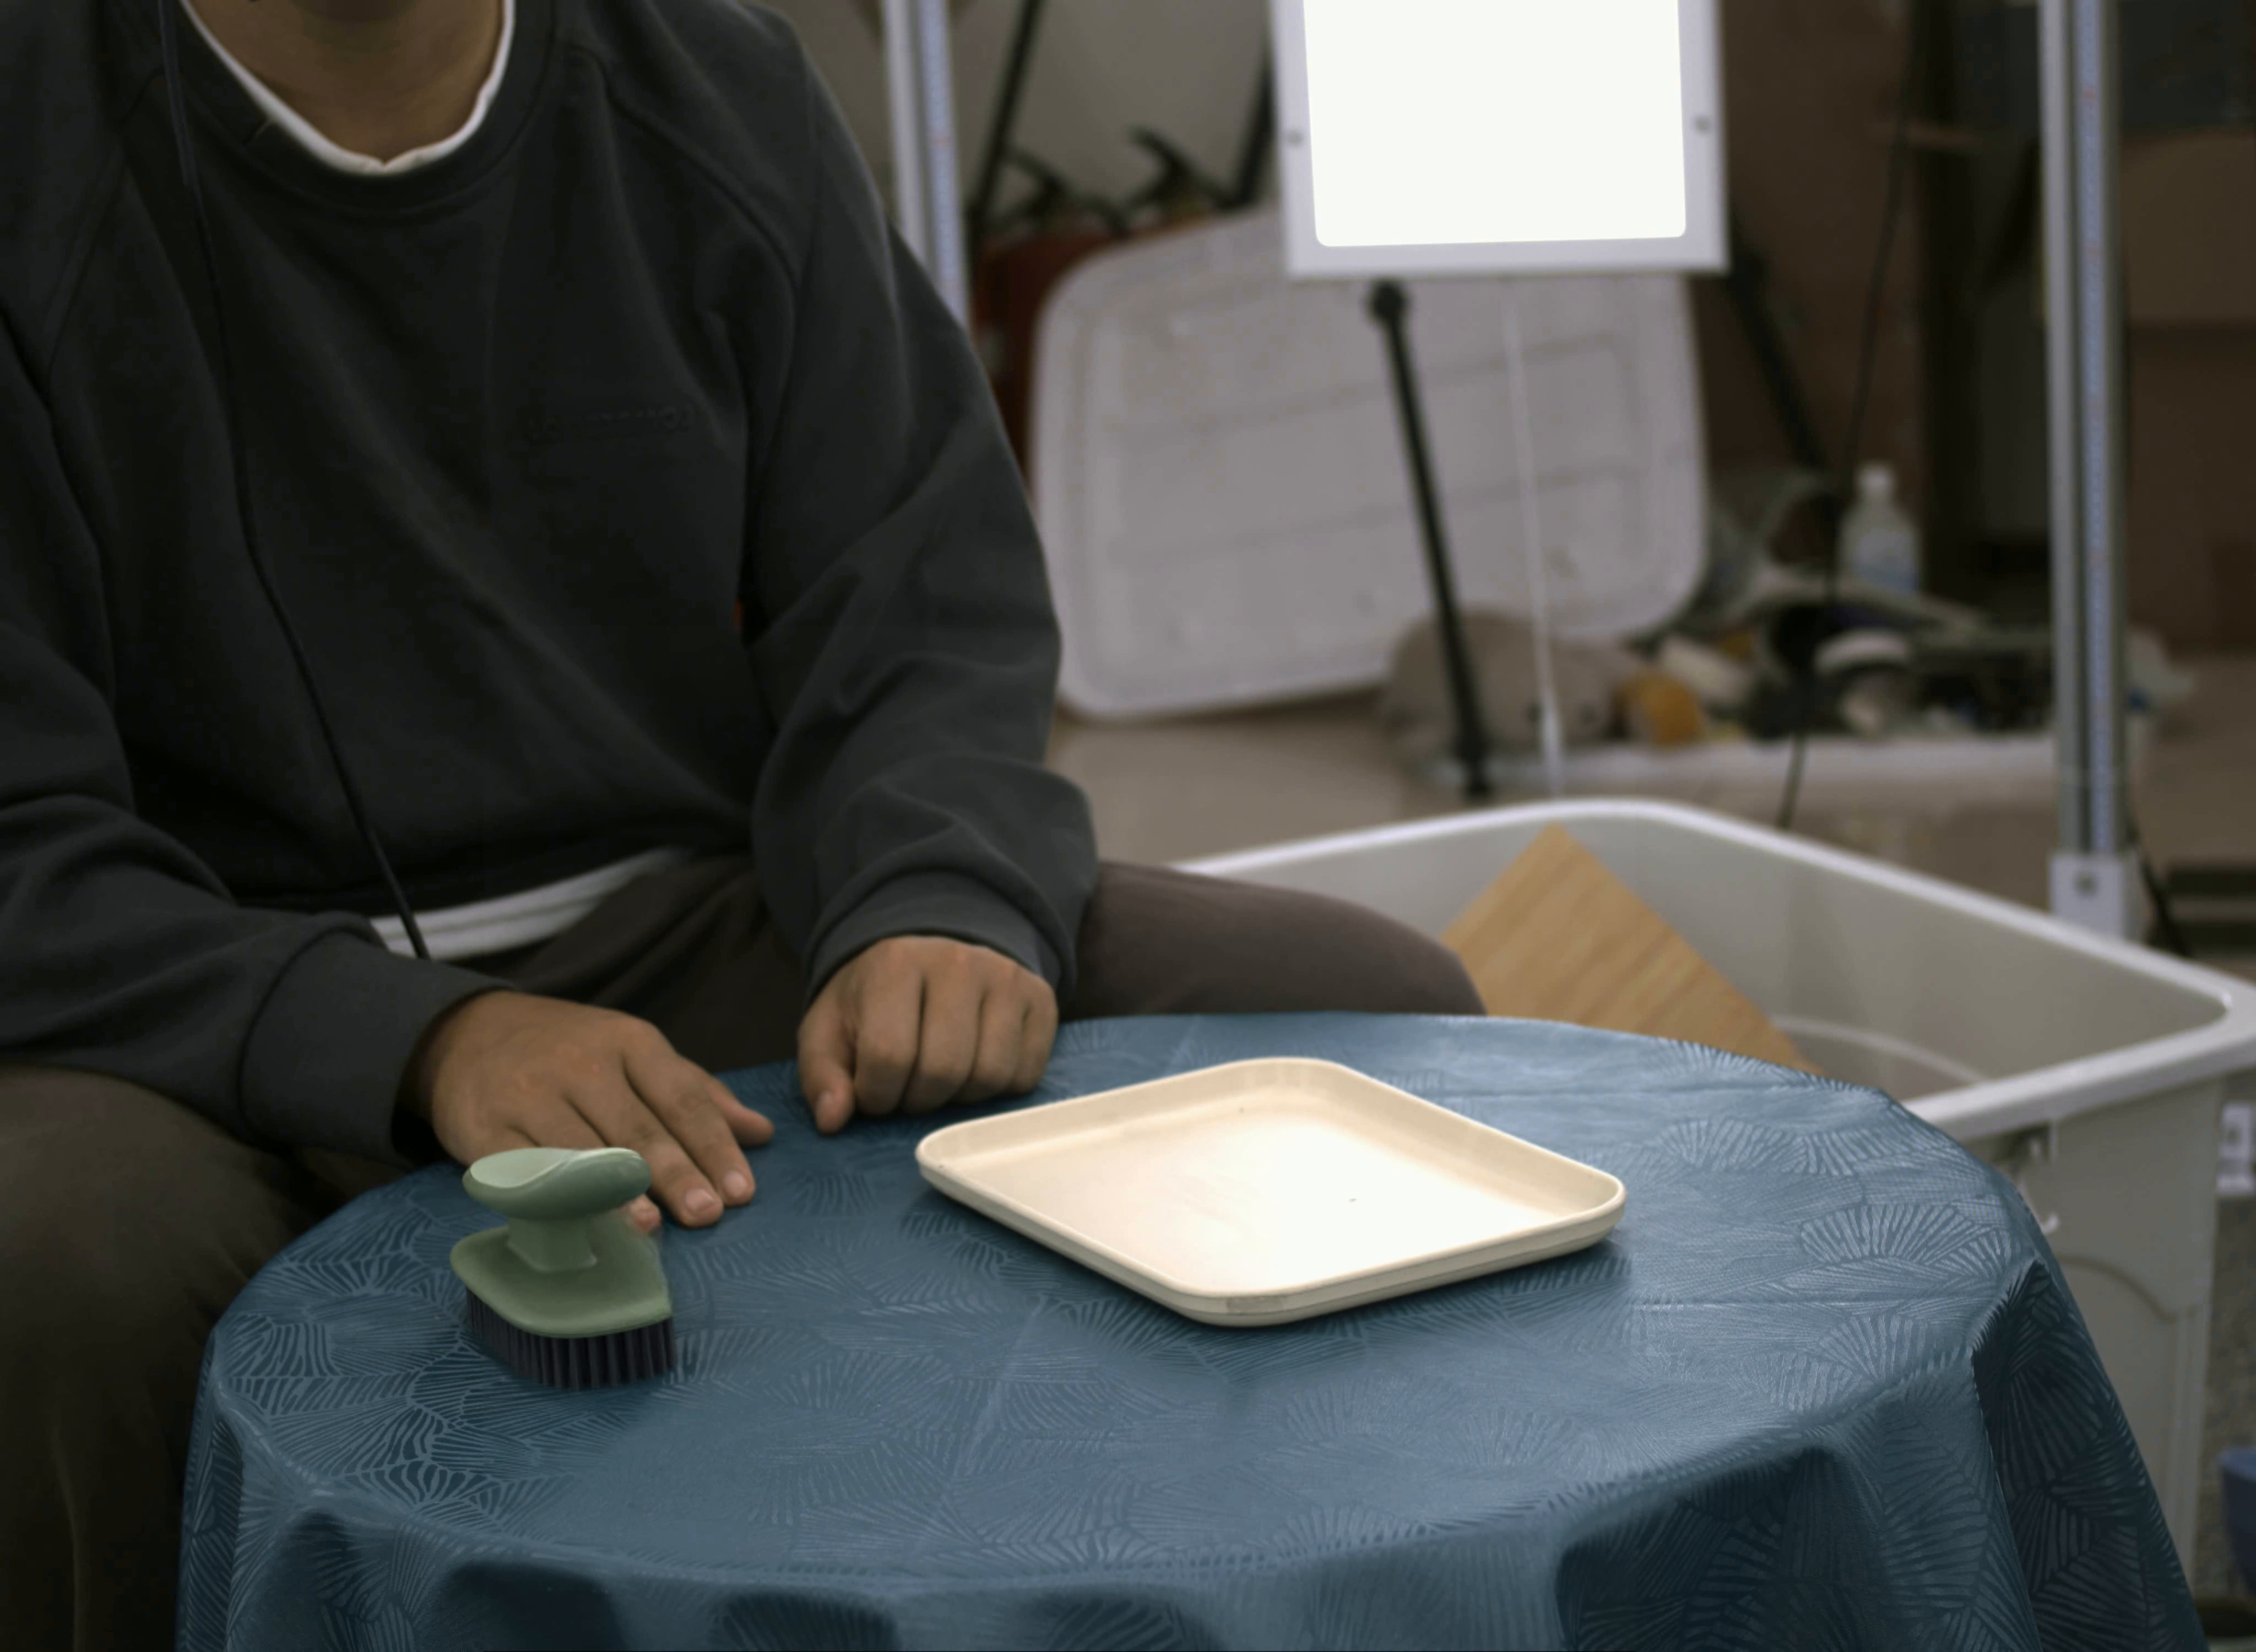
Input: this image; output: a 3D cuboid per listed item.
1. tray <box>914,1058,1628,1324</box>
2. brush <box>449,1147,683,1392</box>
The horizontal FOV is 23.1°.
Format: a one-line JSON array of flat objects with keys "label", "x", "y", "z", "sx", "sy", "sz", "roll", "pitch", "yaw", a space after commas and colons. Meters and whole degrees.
[{"label": "tray", "x": 0.046, "y": 0.122, "z": 1.861, "sx": 0.168, "sy": 0.017, "sz": 0.244, "roll": -11, "pitch": 14, "yaw": -25}, {"label": "brush", "x": -0.182, "y": 0.142, "z": 1.789, "sx": 0.058, "sy": 0.076, "sz": 0.125, "roll": -9, "pitch": 0, "yaw": -22}]
